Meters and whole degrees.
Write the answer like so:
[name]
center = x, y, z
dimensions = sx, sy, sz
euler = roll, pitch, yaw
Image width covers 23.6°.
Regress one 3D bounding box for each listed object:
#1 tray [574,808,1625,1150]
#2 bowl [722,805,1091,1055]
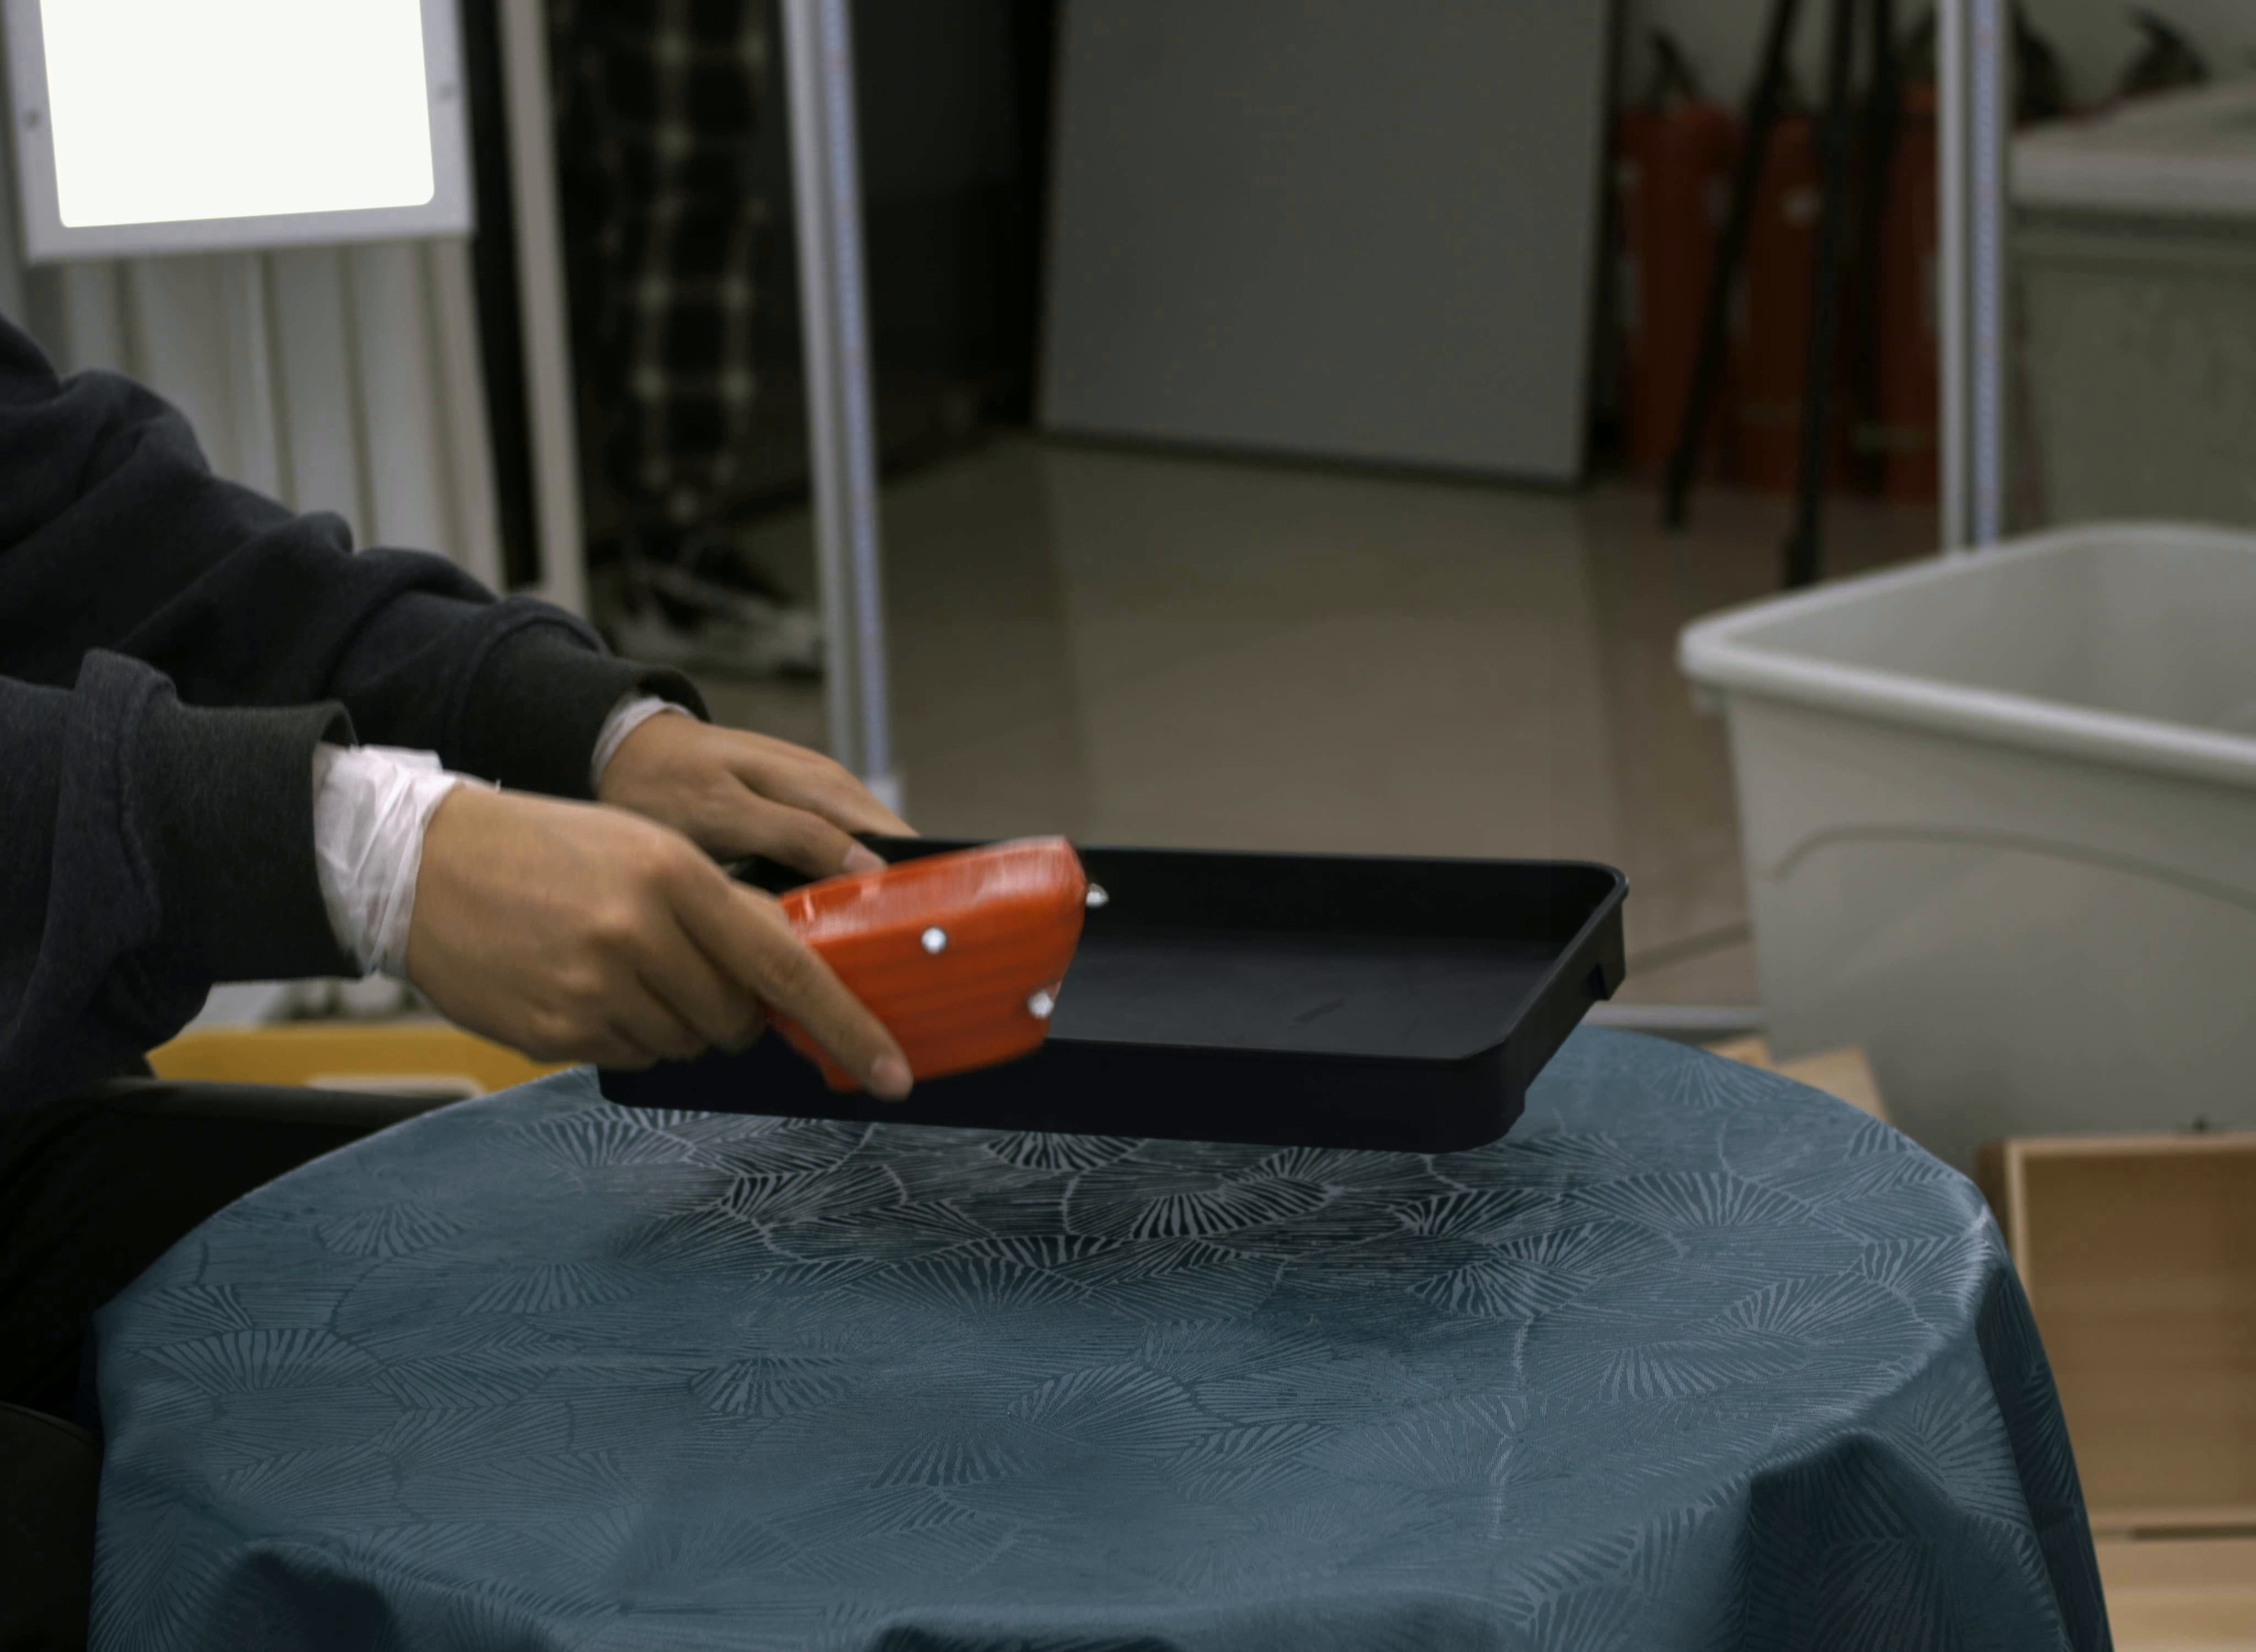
[tray]
center = -0.007, 0.047, 1.765
dimensions = 0.317, 0.037, 0.182
euler = 4, 19, 21
[bowl]
center = -0.061, 0.033, 1.578
dimensions = 0.117, 0.052, 0.119
euler = -11, 9, 1
